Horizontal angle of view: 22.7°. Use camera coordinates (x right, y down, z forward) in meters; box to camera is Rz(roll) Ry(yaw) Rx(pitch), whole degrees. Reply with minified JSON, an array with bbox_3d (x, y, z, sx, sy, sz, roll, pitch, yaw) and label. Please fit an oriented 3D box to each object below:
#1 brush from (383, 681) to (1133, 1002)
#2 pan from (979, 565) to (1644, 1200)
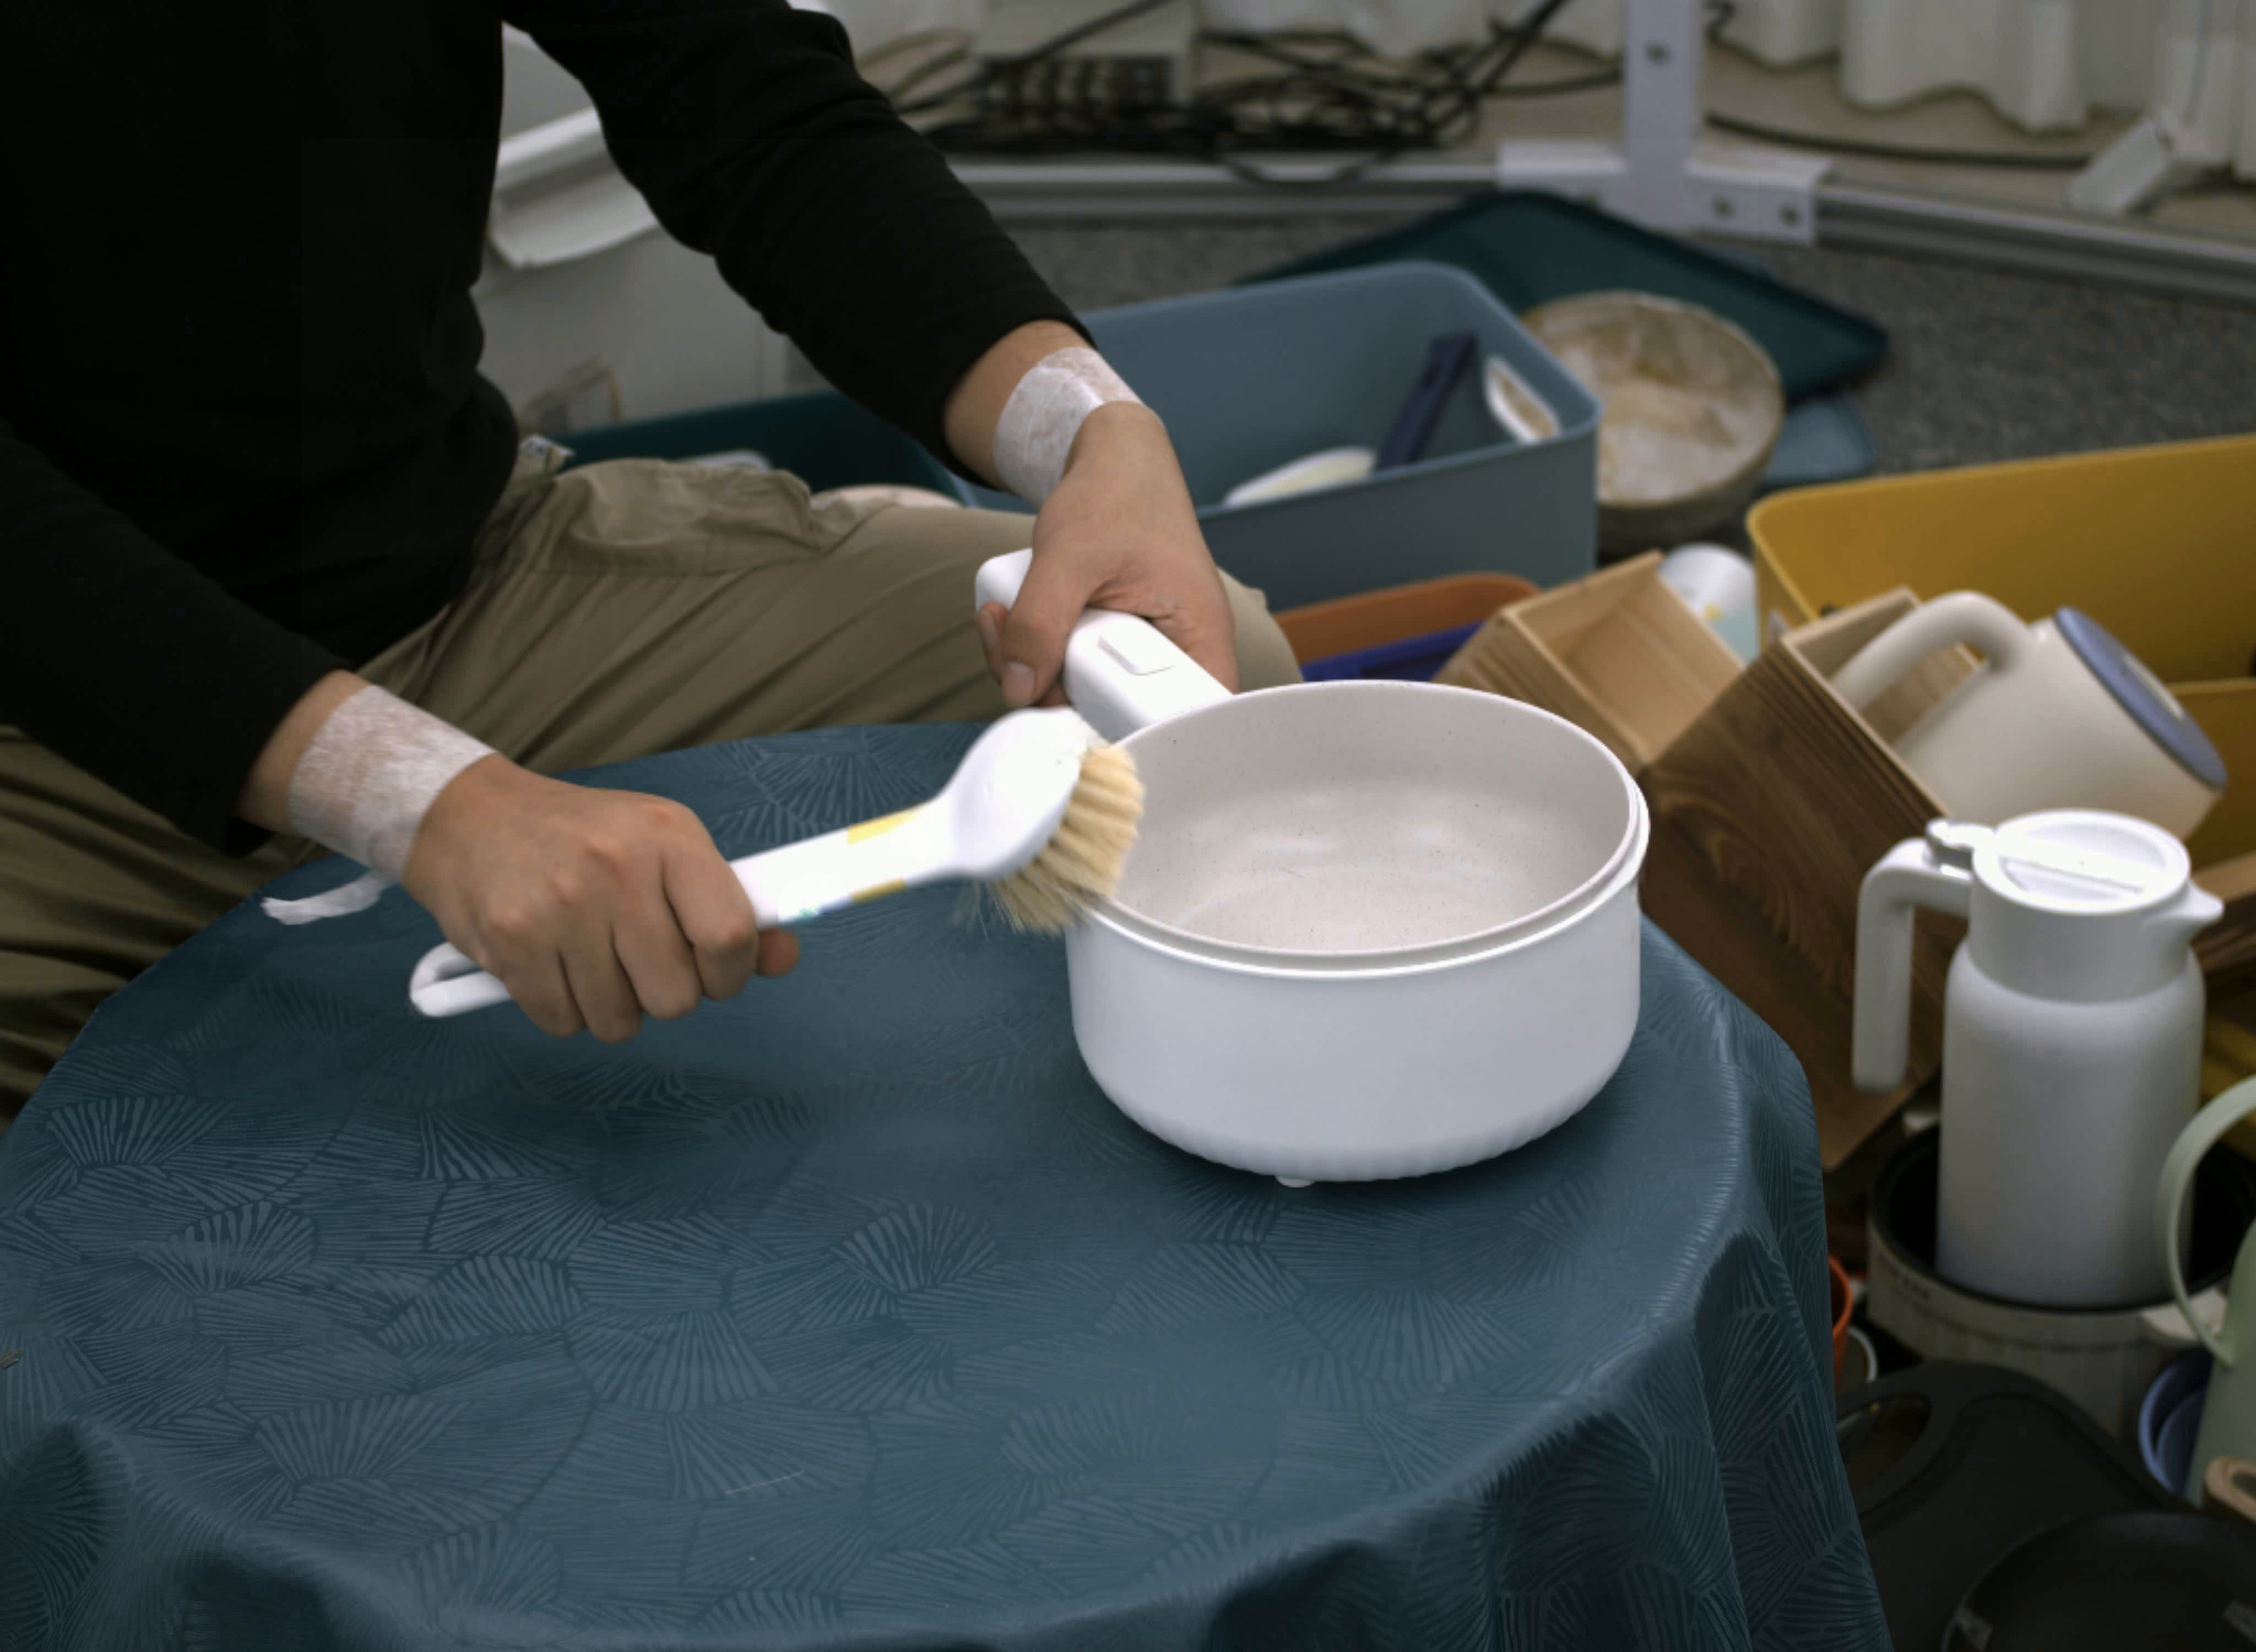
[{"bbox_3d":[-0.121,0.021,1.885,0.264,0.055,0.070,-21,40,13],"label":"brush"},{"bbox_3d":[0.042,0.014,1.967,0.202,0.101,0.356,-18,29,-22],"label":"pan"}]
